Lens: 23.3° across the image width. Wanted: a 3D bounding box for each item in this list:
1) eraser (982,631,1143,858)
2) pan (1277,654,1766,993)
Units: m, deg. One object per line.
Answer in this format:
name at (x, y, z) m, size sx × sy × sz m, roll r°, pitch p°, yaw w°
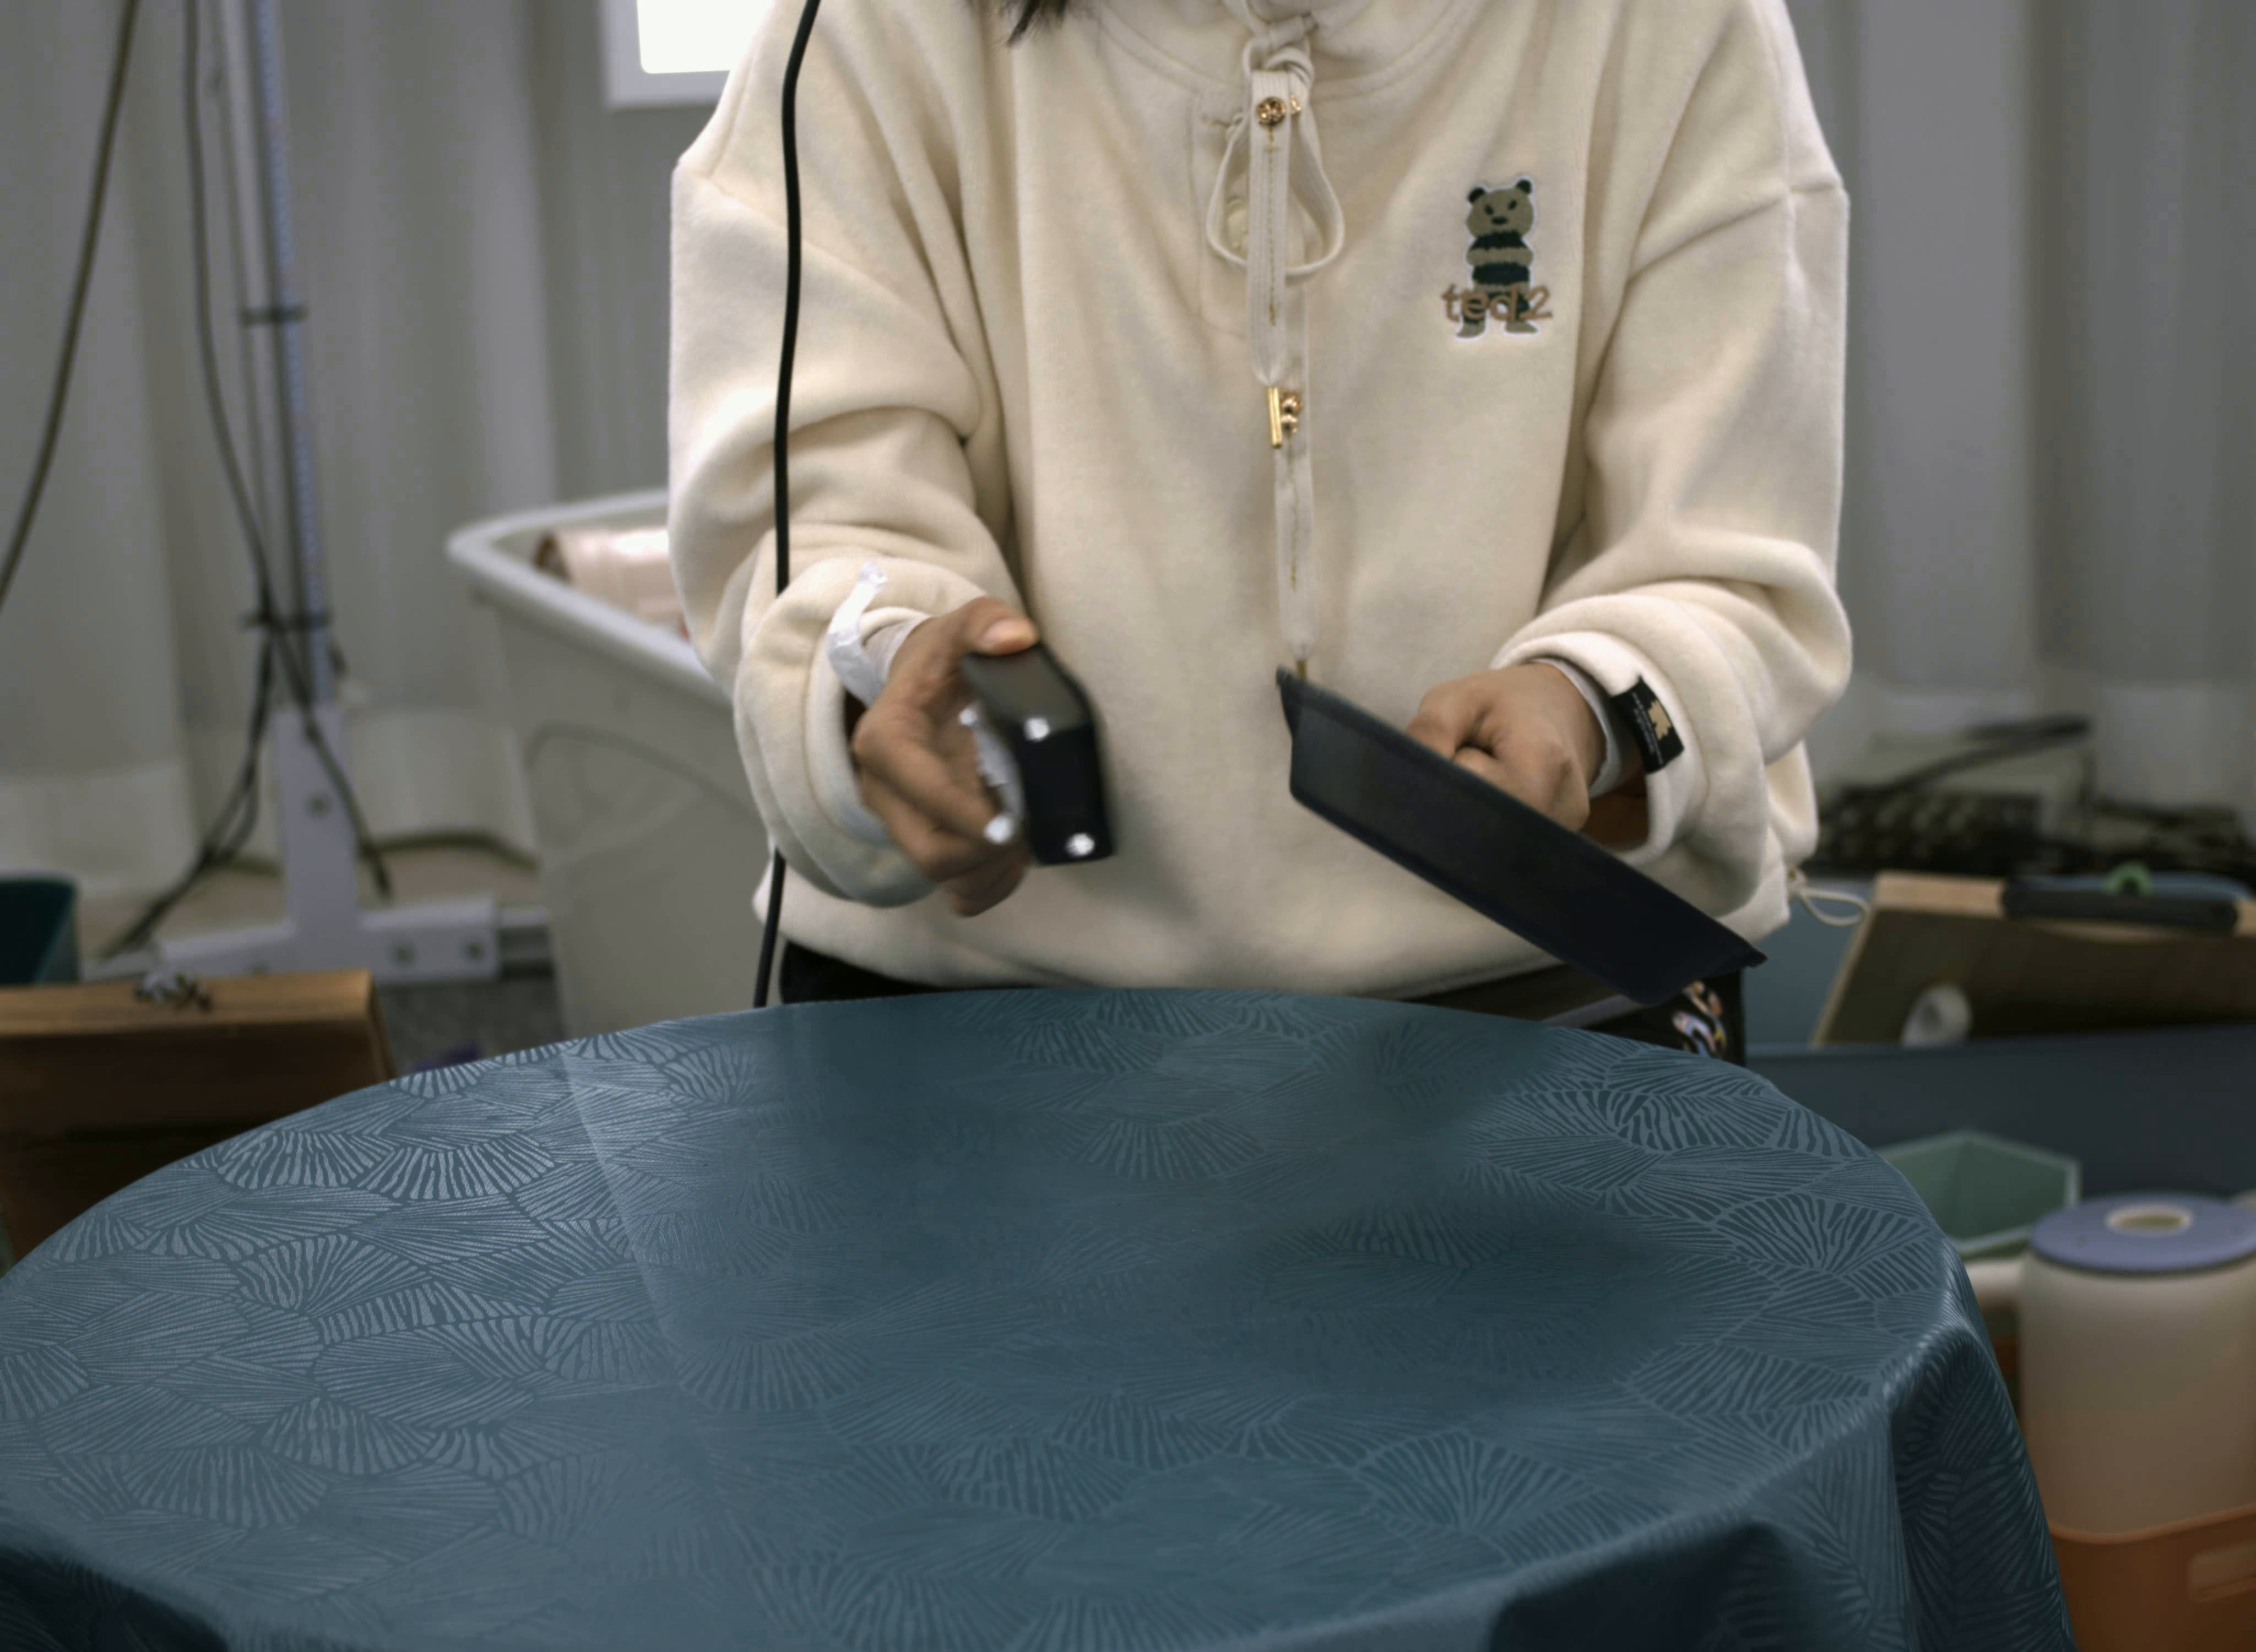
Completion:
eraser at (-0.022, -0.028, 1.729) m, size 0.030 × 0.053 × 0.126 m, roll -10°, pitch 11°, yaw -8°
pan at (0.112, -0.002, 1.713) m, size 0.168 × 0.049 × 0.324 m, roll 31°, pitch 0°, yaw -1°
